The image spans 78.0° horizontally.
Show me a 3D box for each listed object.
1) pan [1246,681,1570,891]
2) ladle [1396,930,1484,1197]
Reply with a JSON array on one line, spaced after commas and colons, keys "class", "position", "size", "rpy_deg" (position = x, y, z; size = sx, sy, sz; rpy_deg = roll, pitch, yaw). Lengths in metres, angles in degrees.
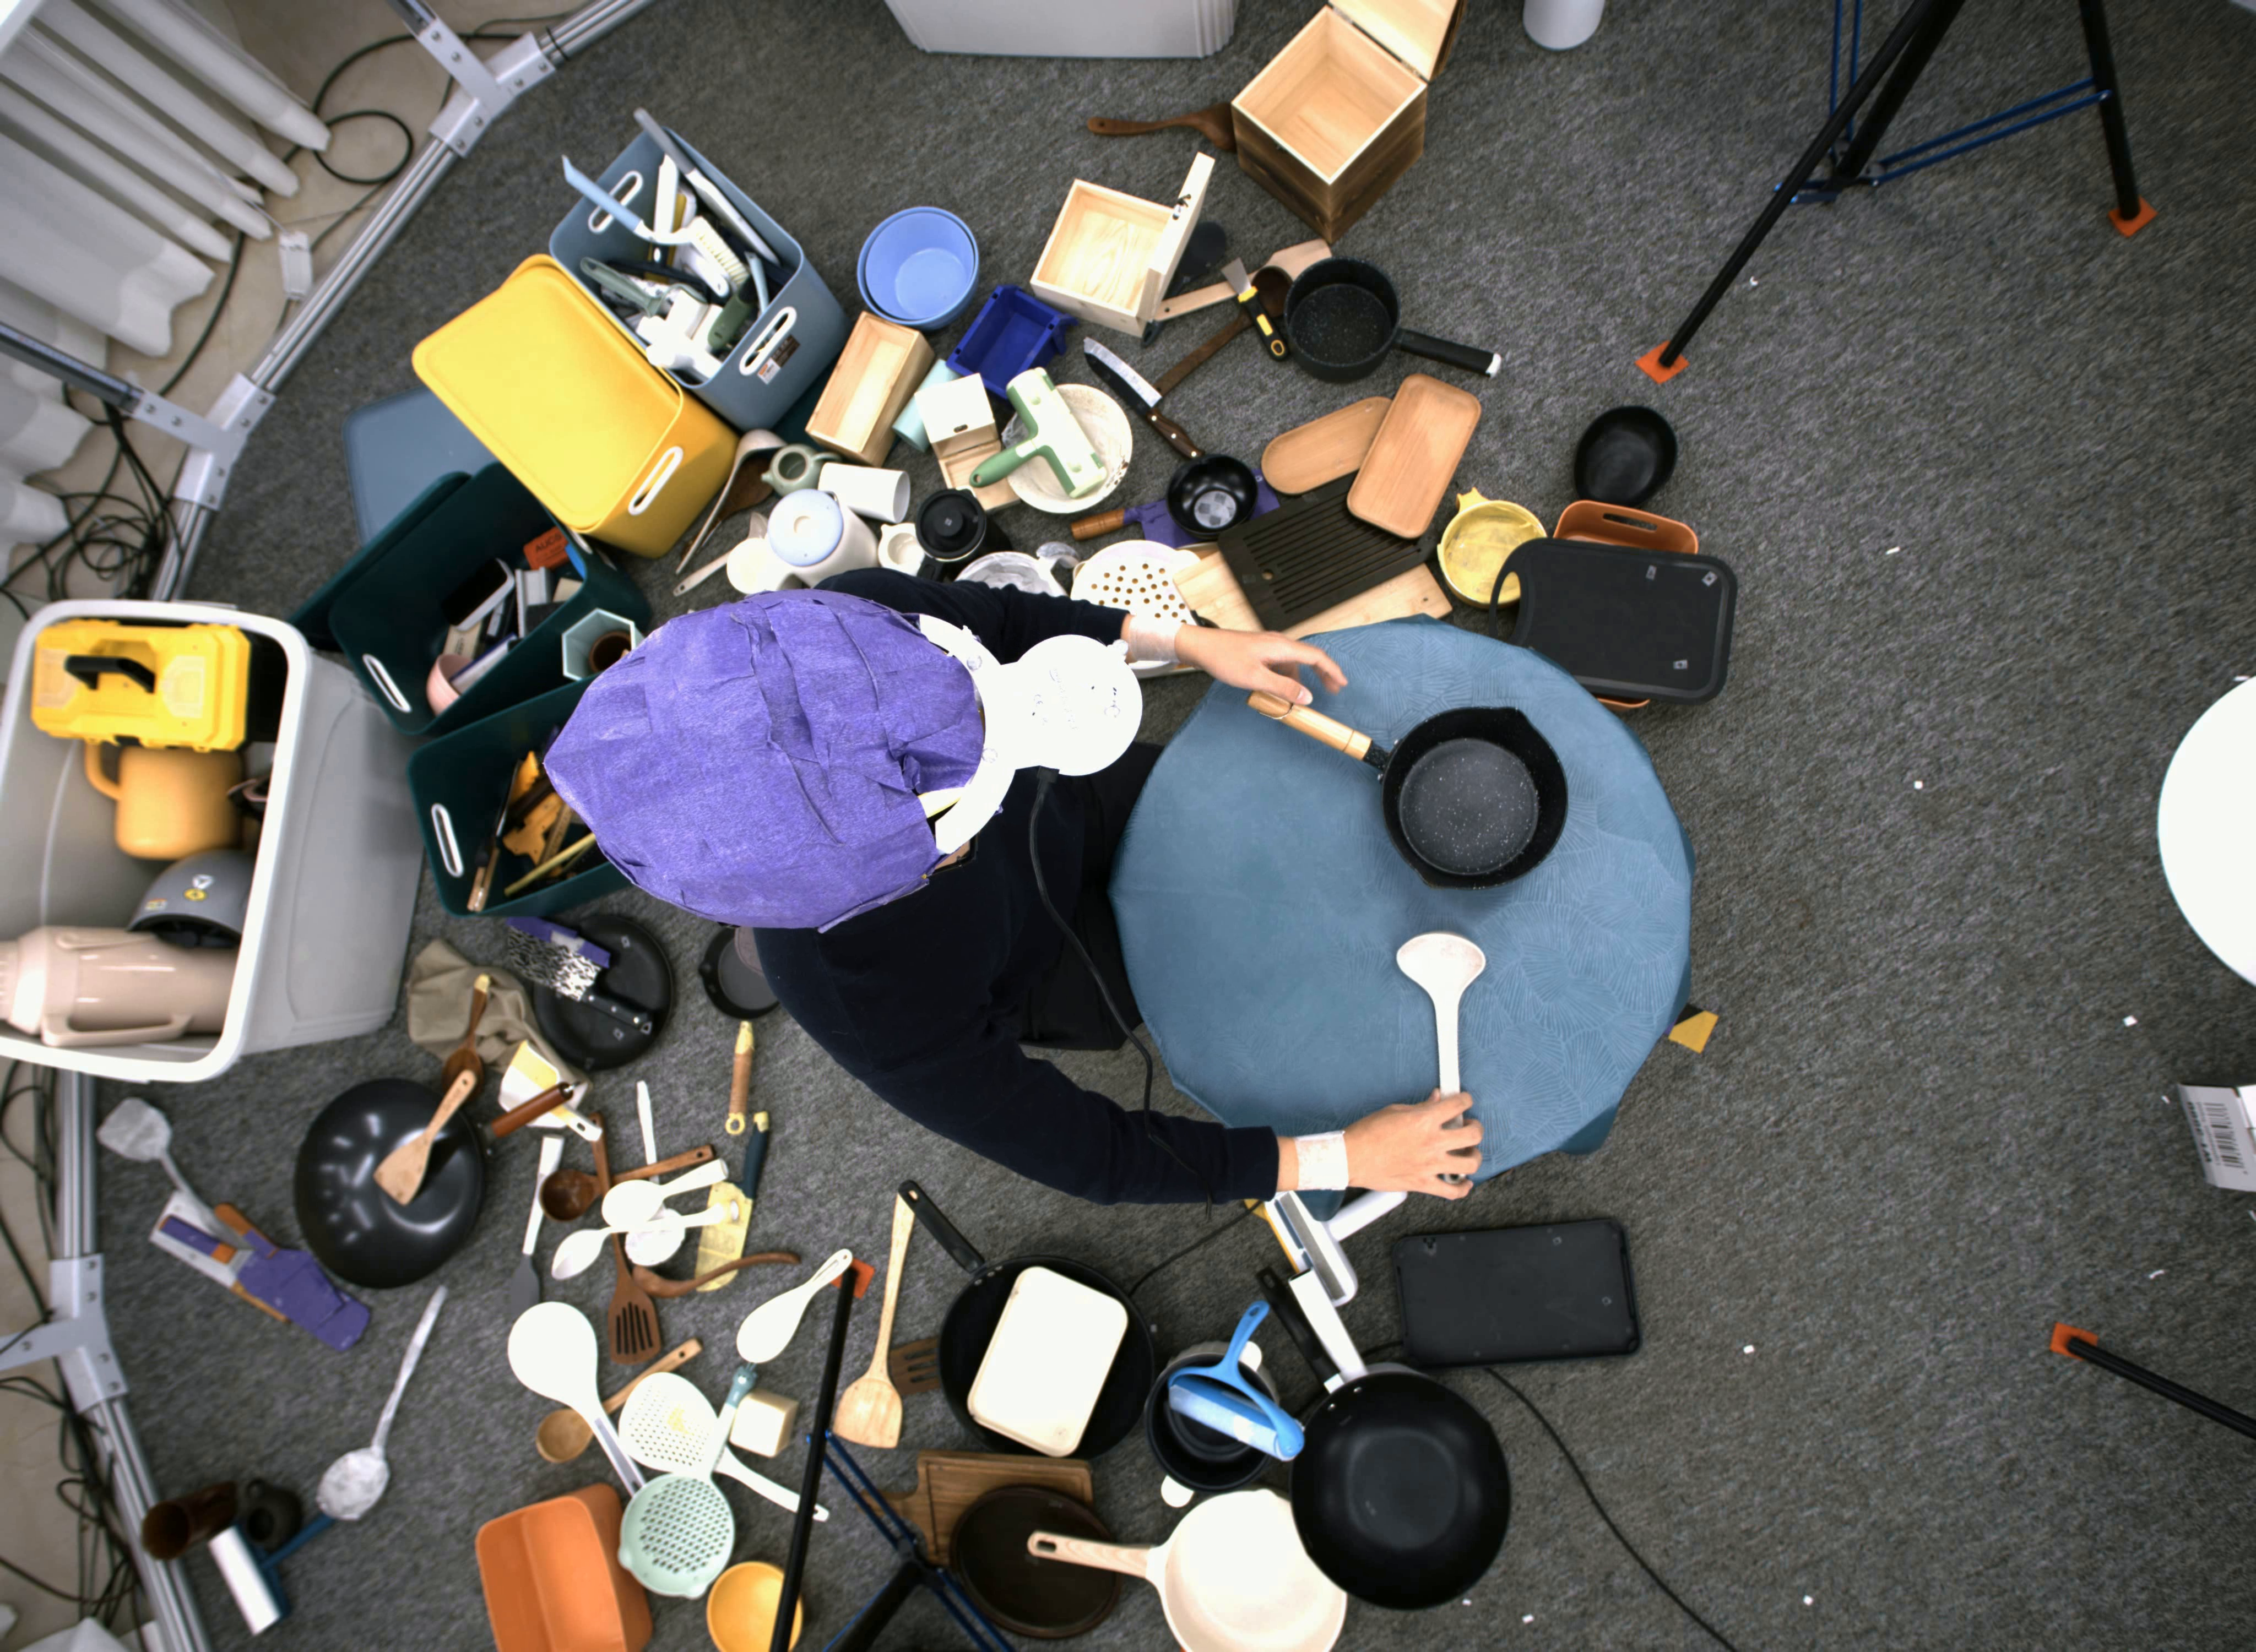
[{"class": "pan", "position": [0.278, -0.060, 1.411], "size": [0.342, 0.108, 0.208], "rpy_deg": [25, 92, 9]}, {"class": "ladle", "position": [0.325, 0.242, 1.406], "size": [0.090, 0.069, 0.273], "rpy_deg": [-4, 86, 17]}]
